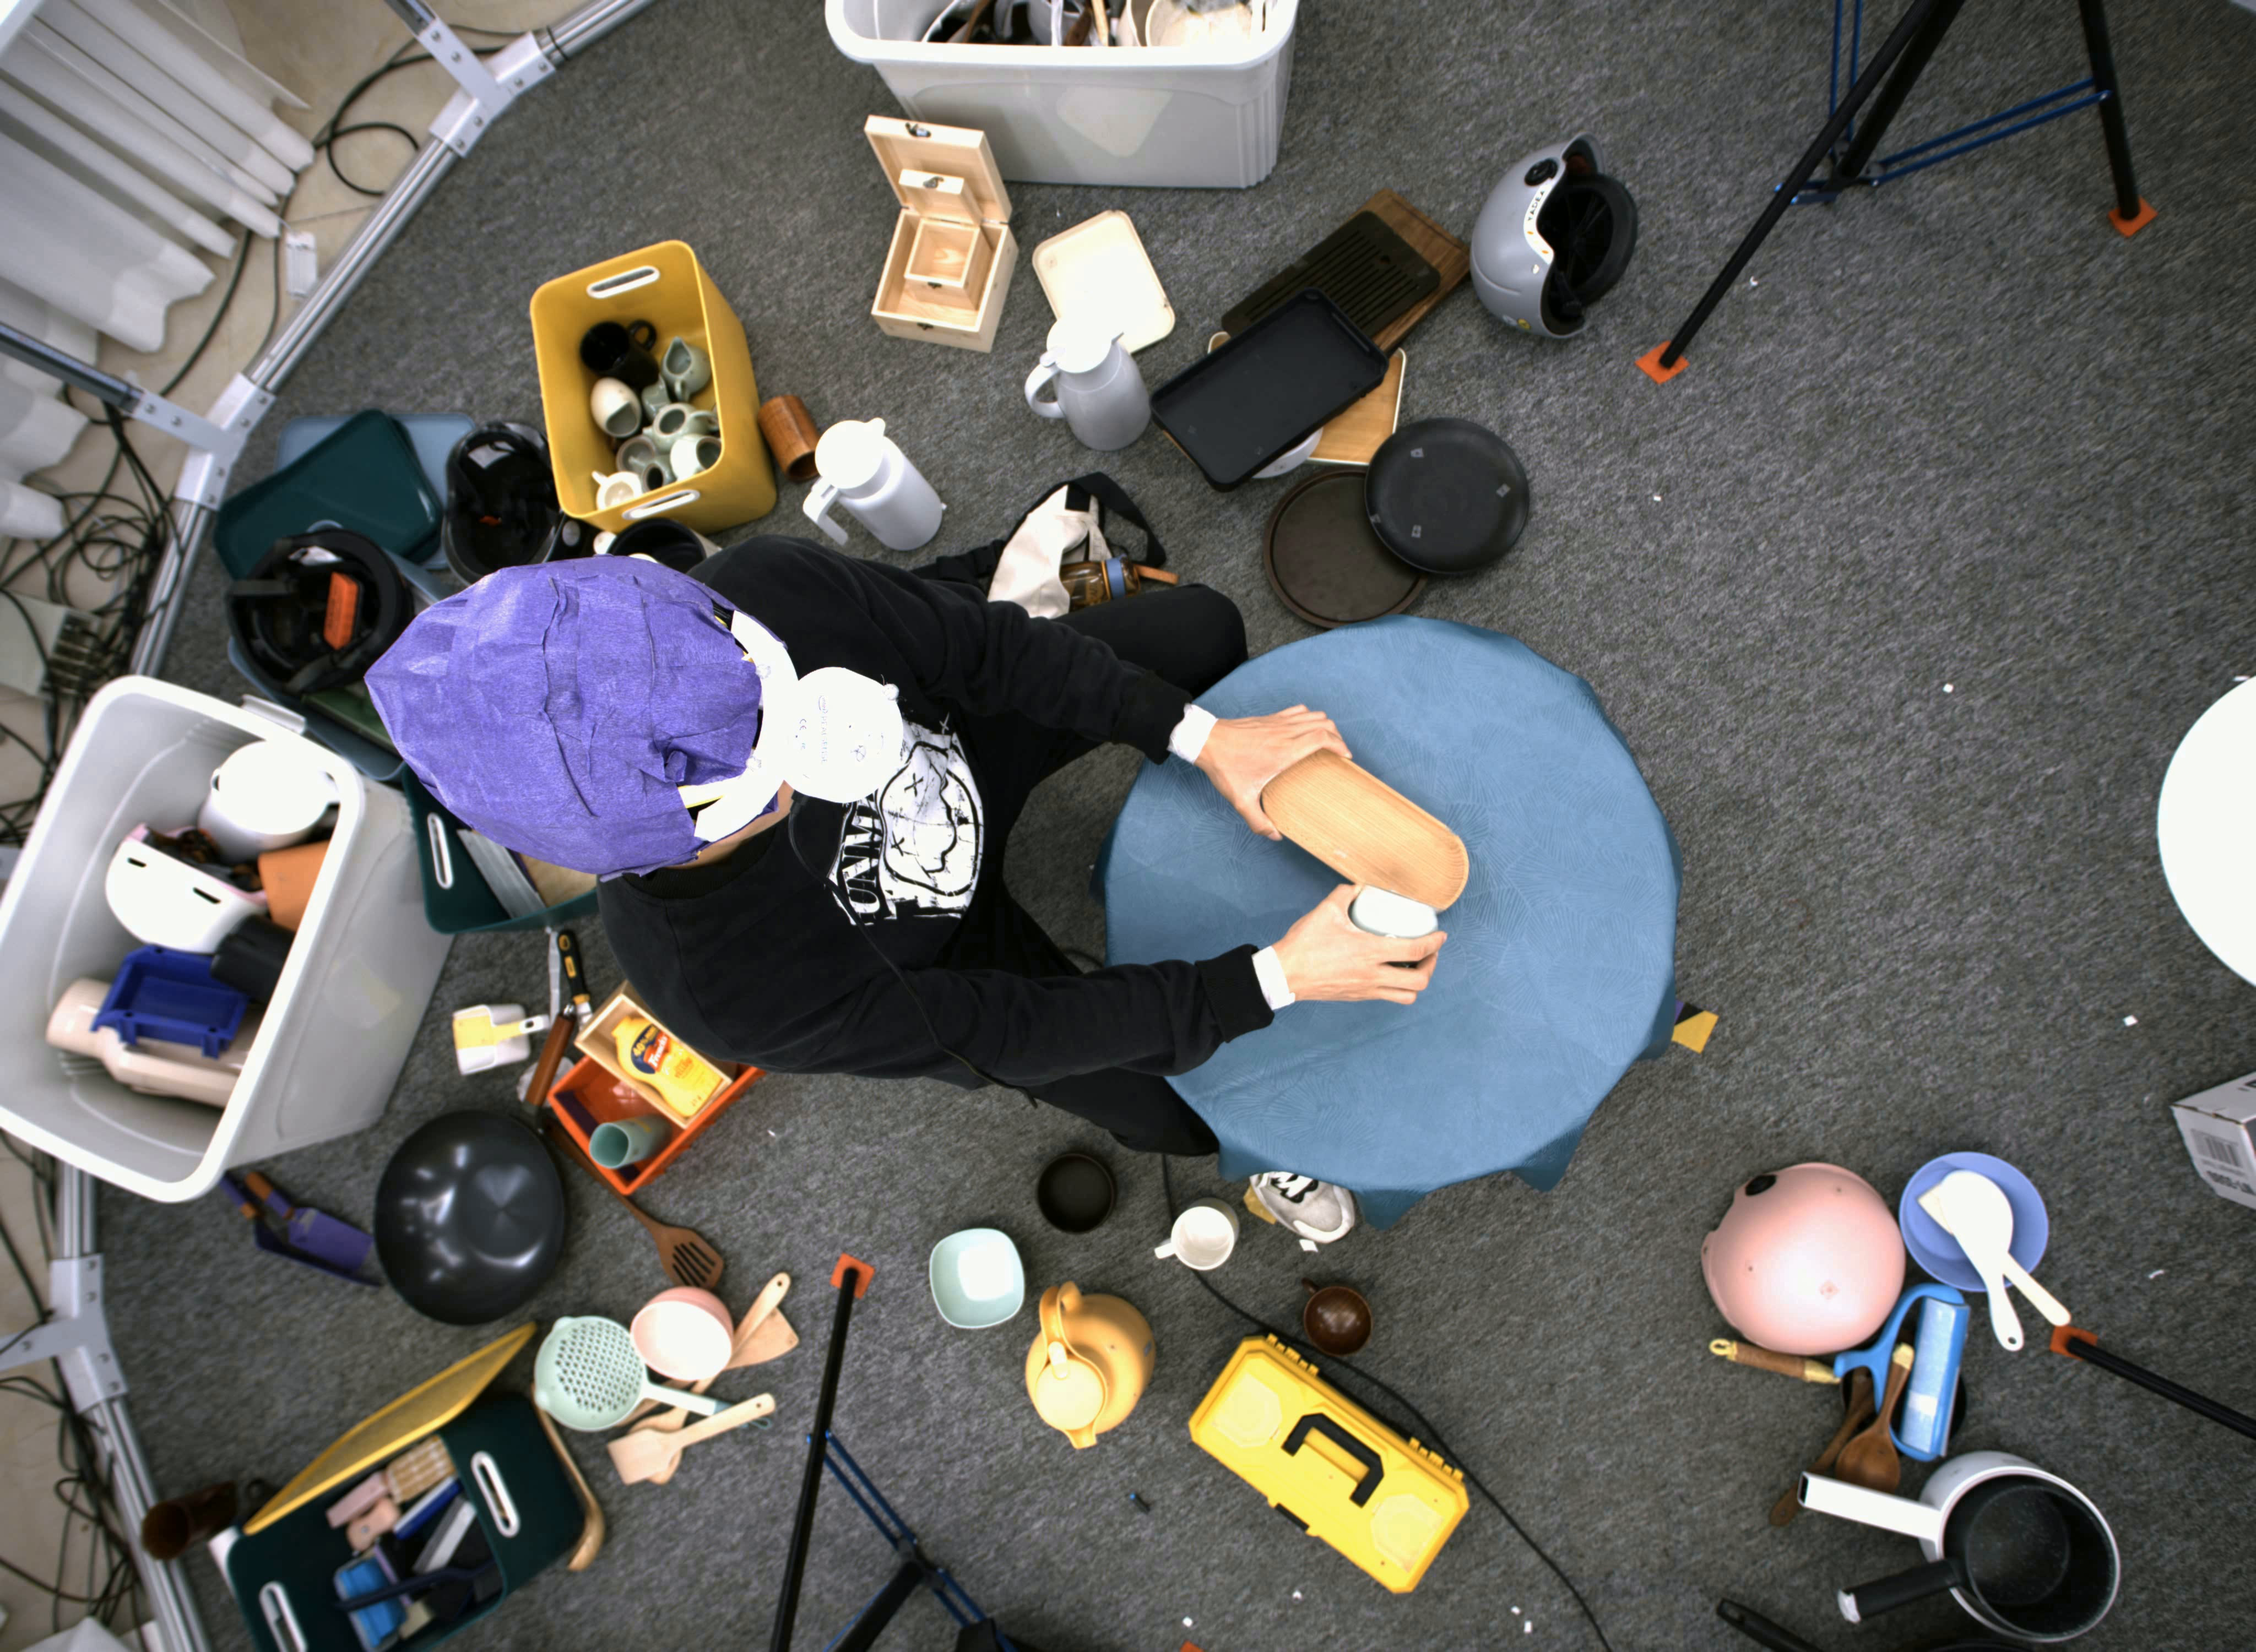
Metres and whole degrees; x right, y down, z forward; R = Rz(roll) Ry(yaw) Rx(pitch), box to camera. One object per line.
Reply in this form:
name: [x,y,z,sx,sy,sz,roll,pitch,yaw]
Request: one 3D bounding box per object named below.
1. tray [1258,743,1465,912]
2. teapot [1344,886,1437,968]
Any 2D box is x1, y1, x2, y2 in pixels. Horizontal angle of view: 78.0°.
tray: [0.237,0.002,1.405,0.231,0.020,0.102,34,94,7]
teapot: [0.252,0.095,1.327,0.088,0.143,0.075,18,92,8]
